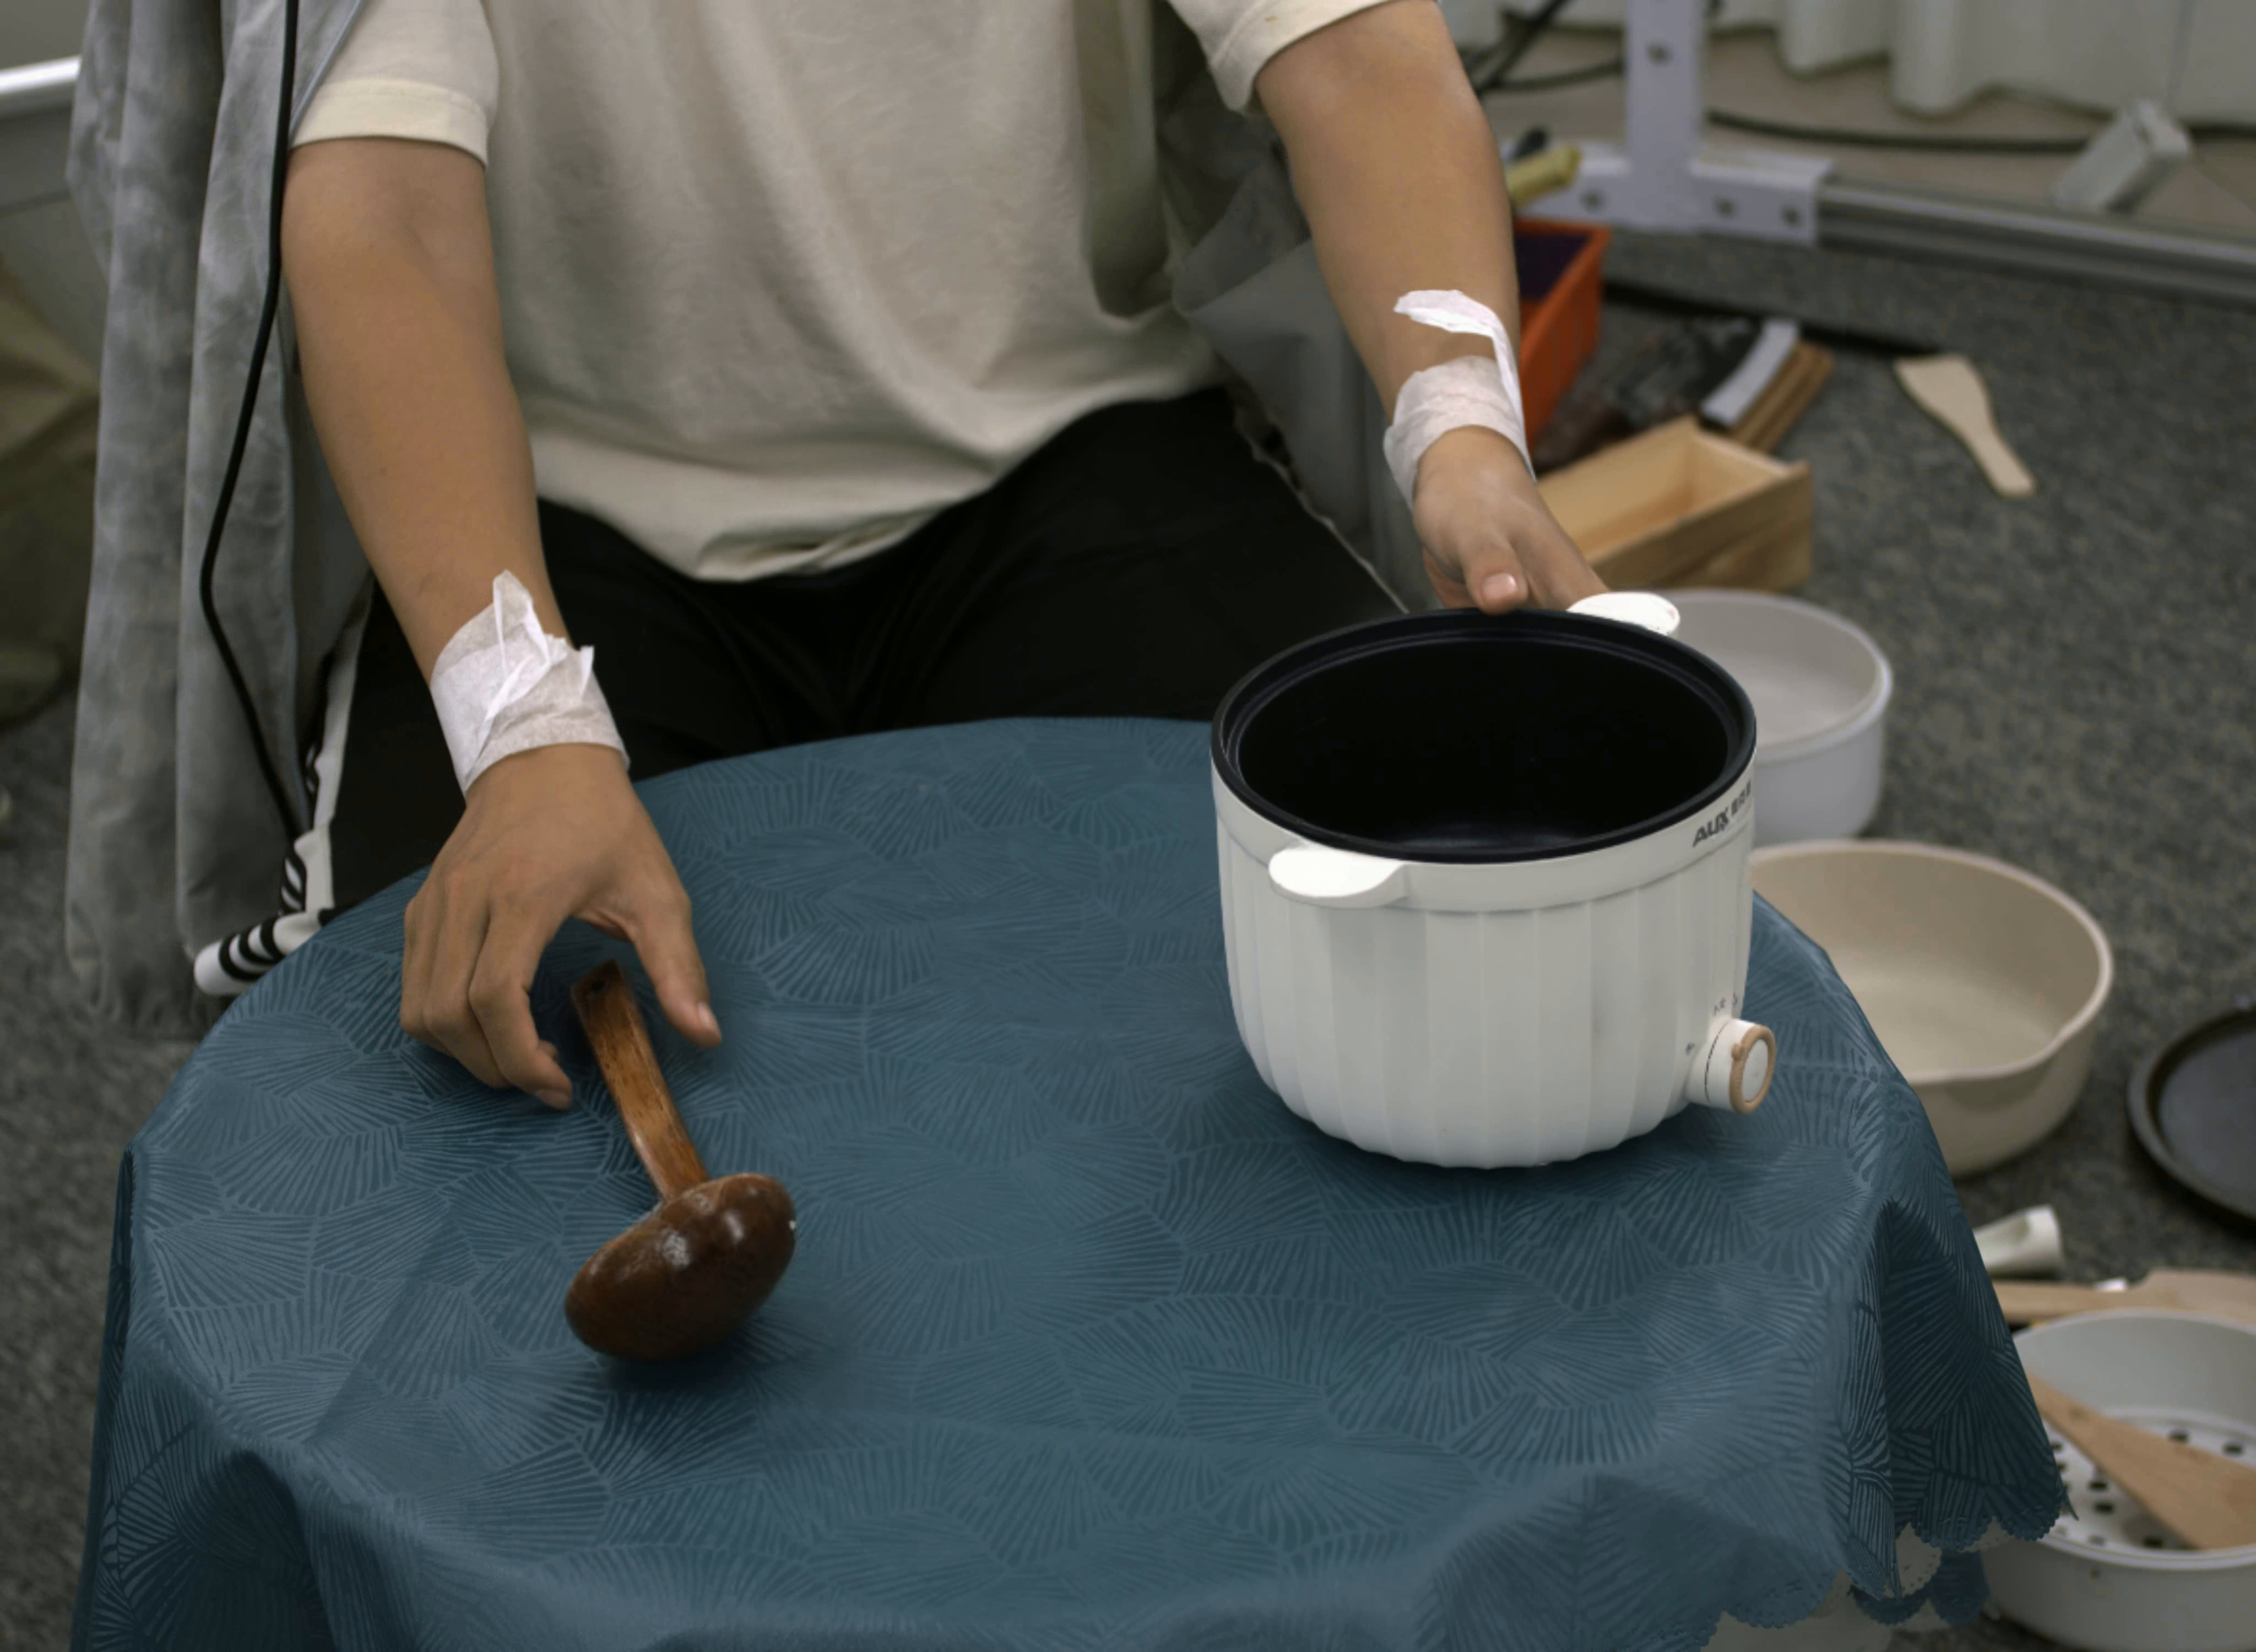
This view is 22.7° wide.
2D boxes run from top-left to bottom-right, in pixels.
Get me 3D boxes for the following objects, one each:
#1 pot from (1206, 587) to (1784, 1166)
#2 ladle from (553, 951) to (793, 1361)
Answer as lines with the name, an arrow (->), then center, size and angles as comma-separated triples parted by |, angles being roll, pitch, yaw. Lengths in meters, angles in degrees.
pot -> 0.126, 0.025, 1.885 | 0.189, 0.141, 0.244 | 9, 30, 31
ladle -> -0.166, 0.092, 1.854 | 0.082, 0.076, 0.277 | -30, 30, 1
